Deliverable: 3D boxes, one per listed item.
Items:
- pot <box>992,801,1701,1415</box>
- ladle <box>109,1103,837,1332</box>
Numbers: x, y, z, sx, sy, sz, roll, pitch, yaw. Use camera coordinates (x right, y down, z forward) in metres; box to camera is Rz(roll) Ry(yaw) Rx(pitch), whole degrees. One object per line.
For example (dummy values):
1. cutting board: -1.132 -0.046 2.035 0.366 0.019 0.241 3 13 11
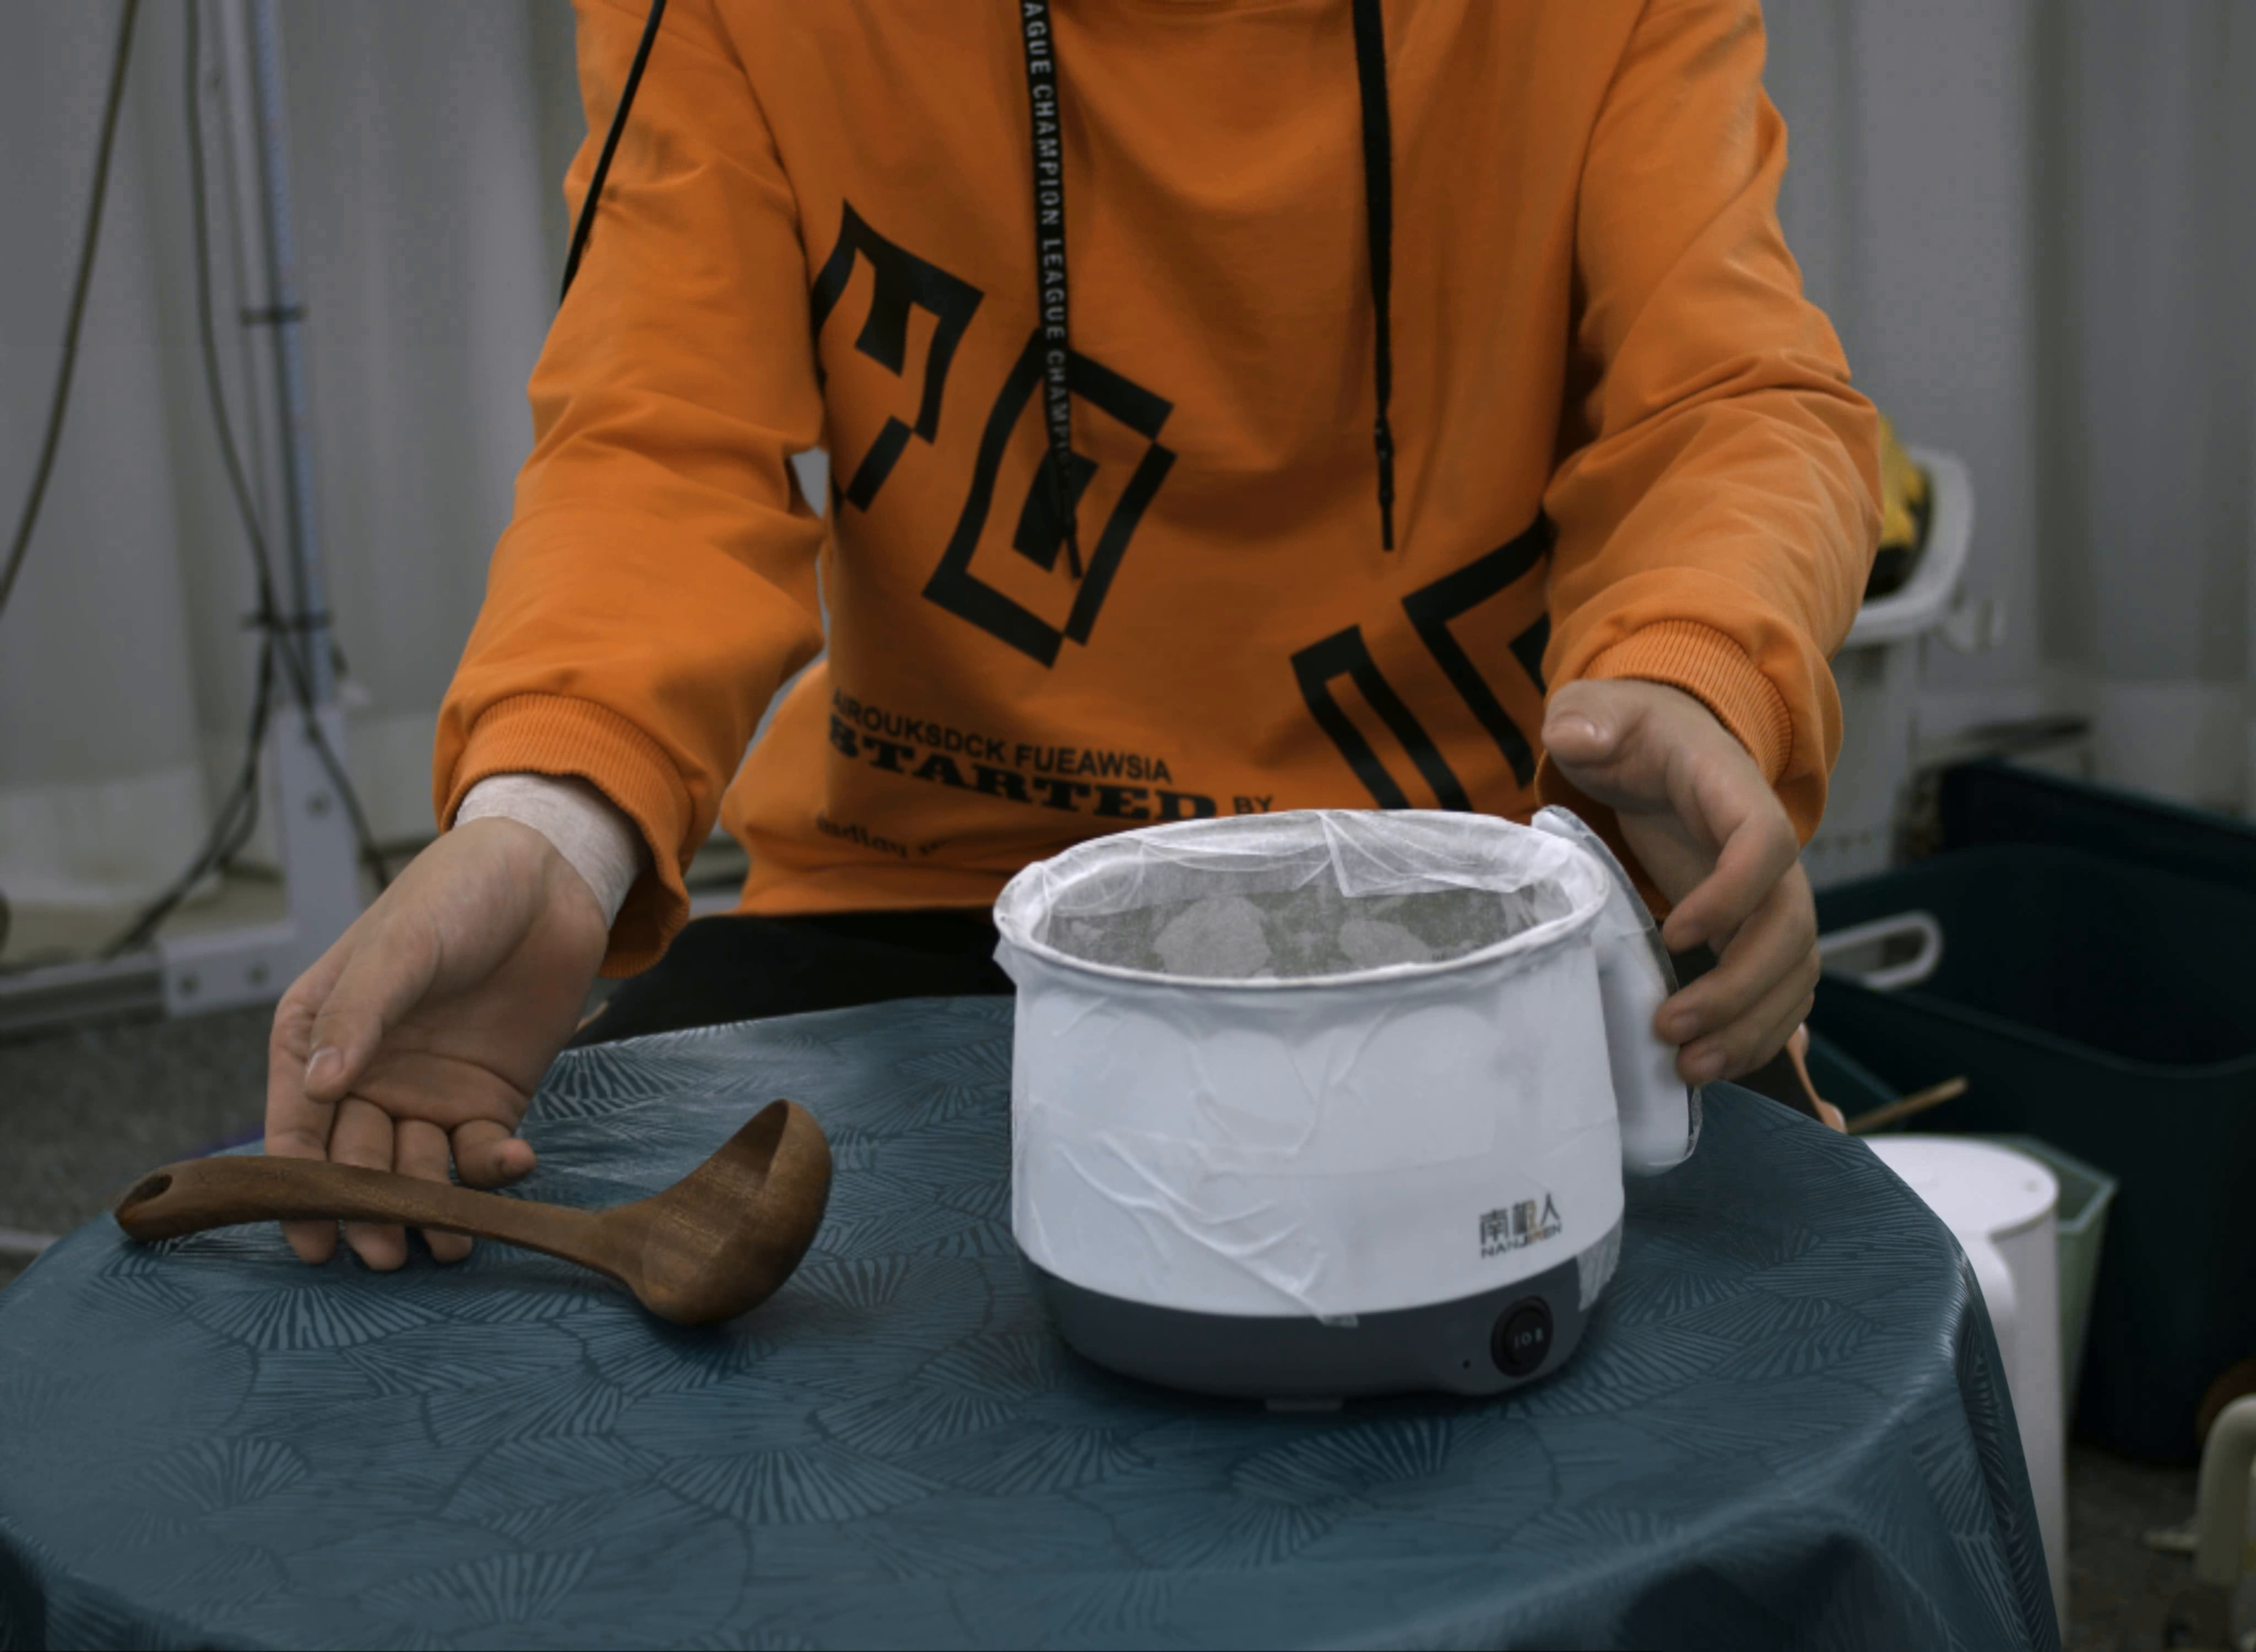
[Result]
1. pot: 0.074 0.073 1.589 0.233 0.136 0.180 -16 20 -38
2. ladle: -0.205 0.110 1.656 0.260 0.064 0.077 4 42 24
